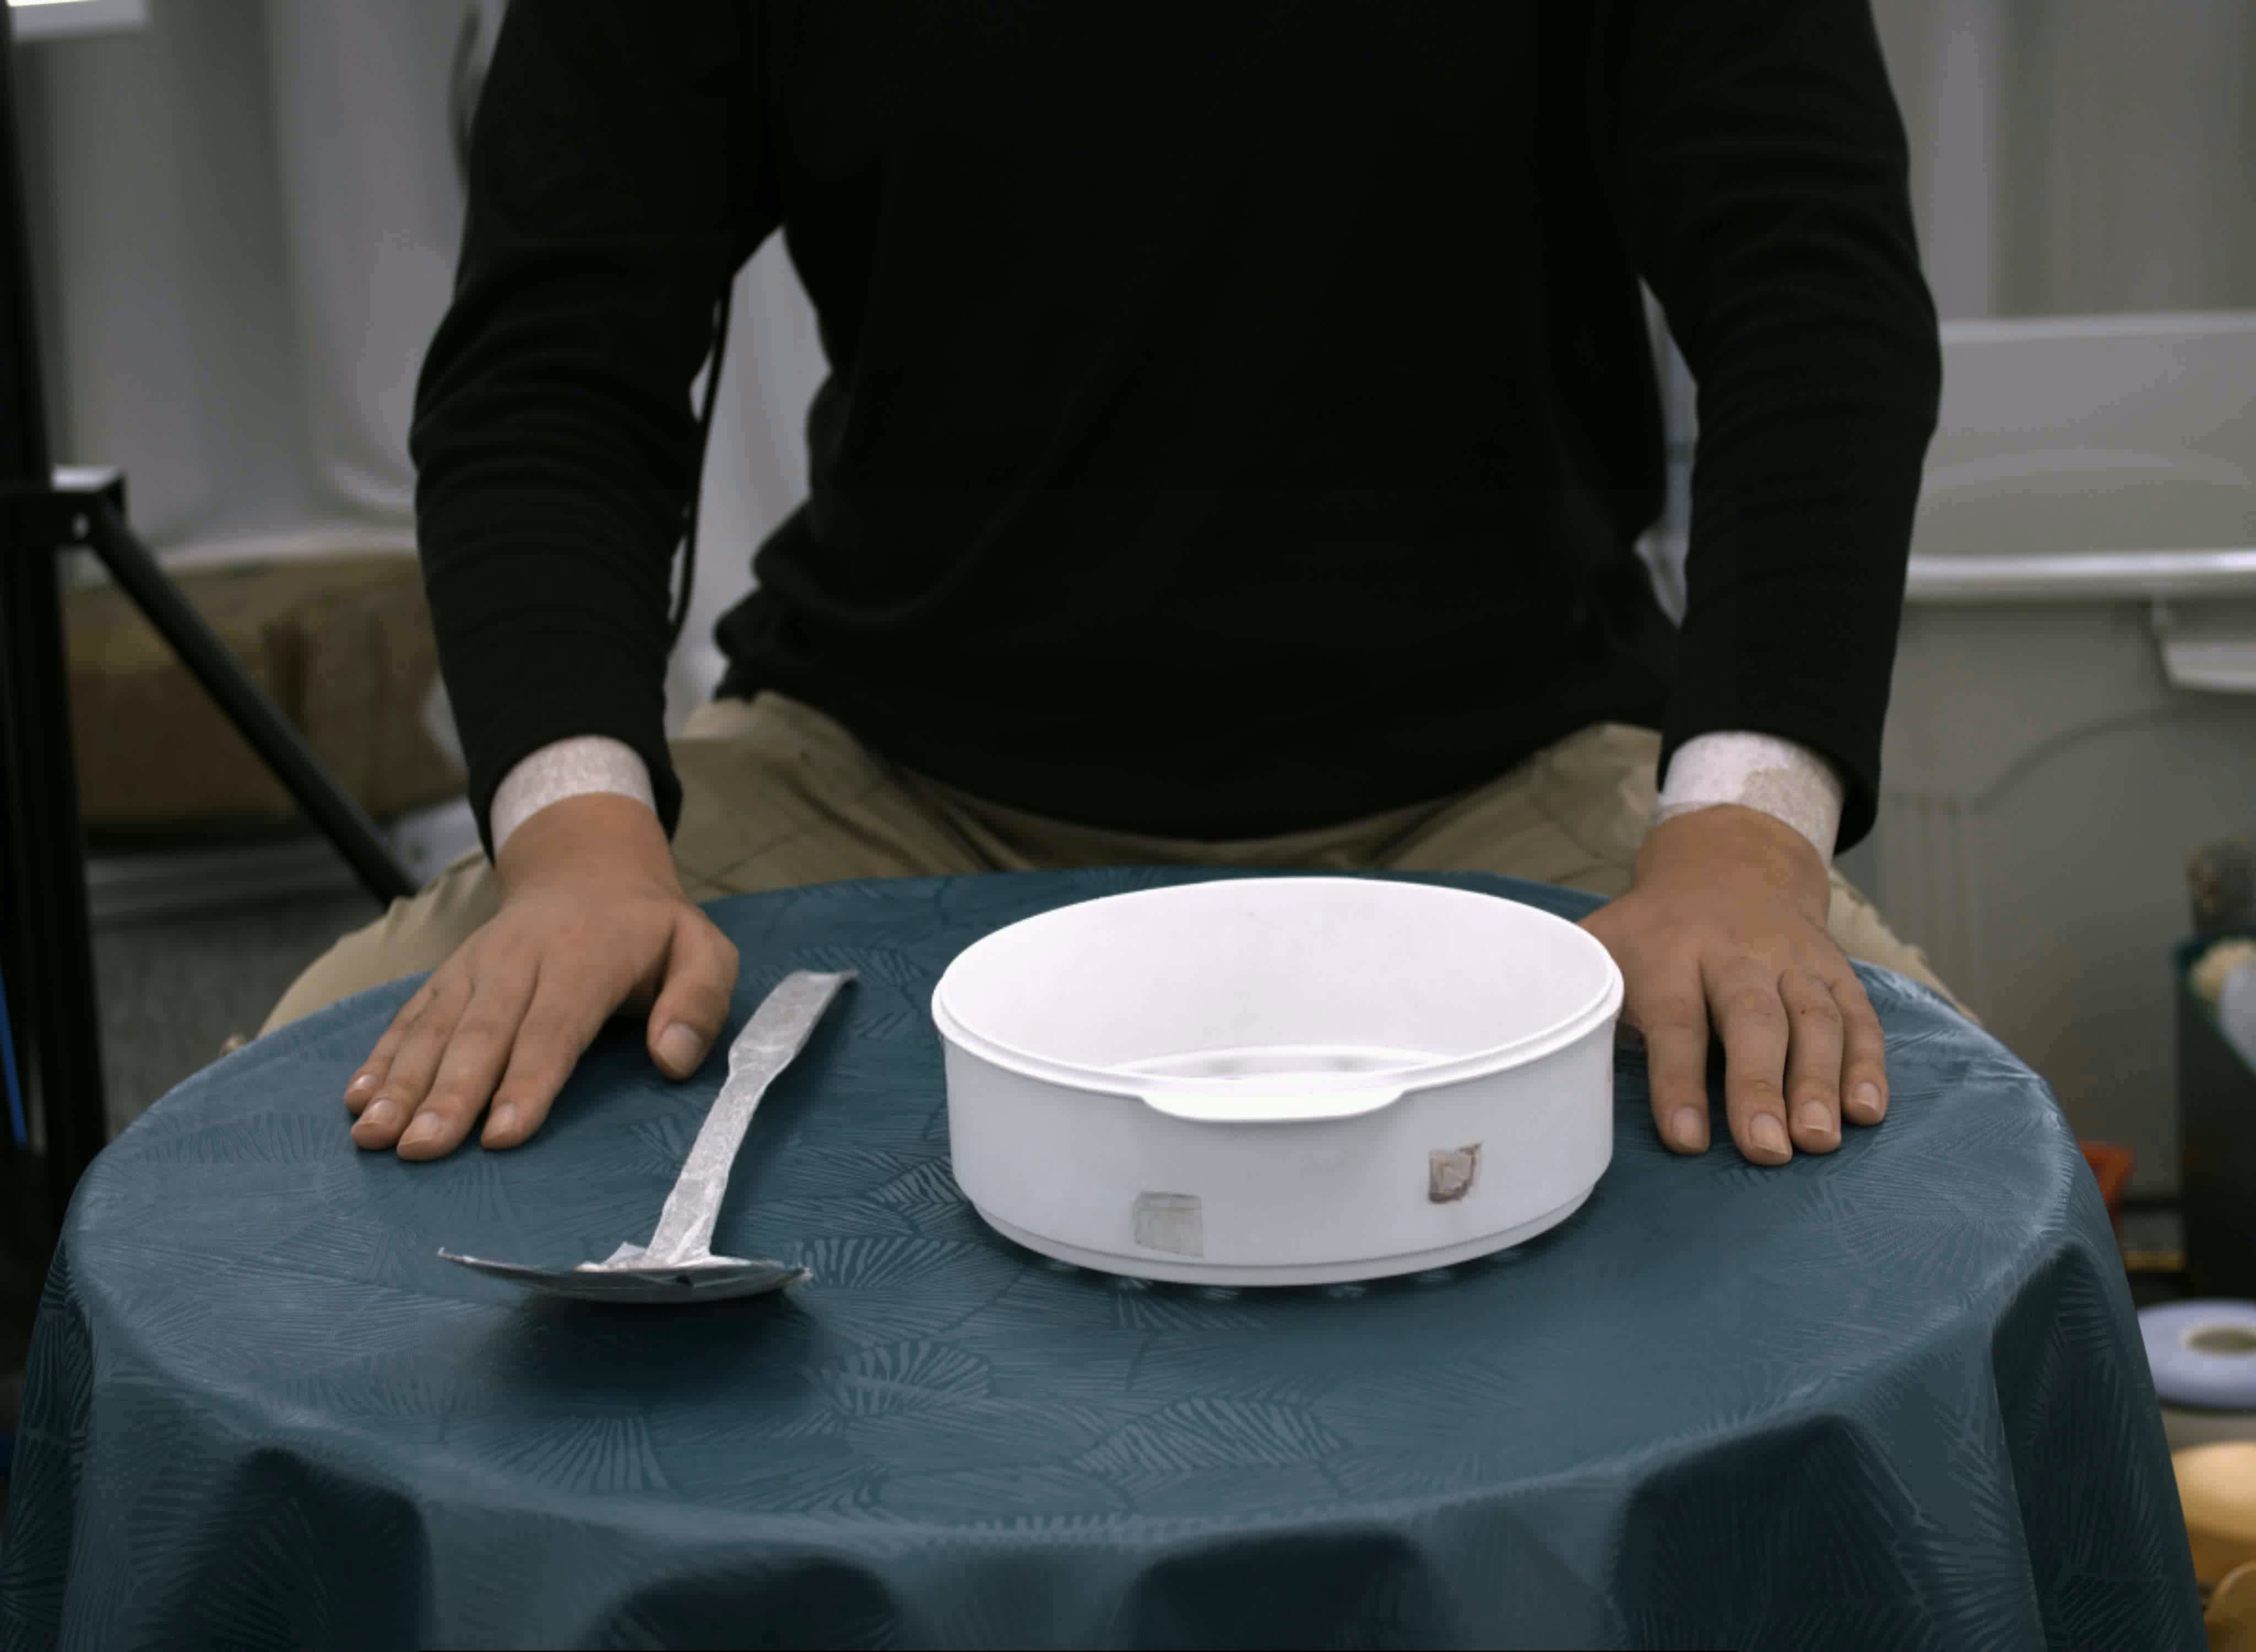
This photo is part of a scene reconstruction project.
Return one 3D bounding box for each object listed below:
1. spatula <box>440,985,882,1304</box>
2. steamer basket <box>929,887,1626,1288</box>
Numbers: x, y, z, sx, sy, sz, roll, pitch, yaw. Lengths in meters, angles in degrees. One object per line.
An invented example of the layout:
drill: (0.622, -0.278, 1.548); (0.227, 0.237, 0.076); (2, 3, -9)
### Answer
spatula: (-0.116, 0.086, 1.586); (0.099, 0.045, 0.364); (-3, 16, 8)
steamer basket: (0.044, 0.075, 1.538); (0.201, 0.069, 0.231); (0, 15, 4)
